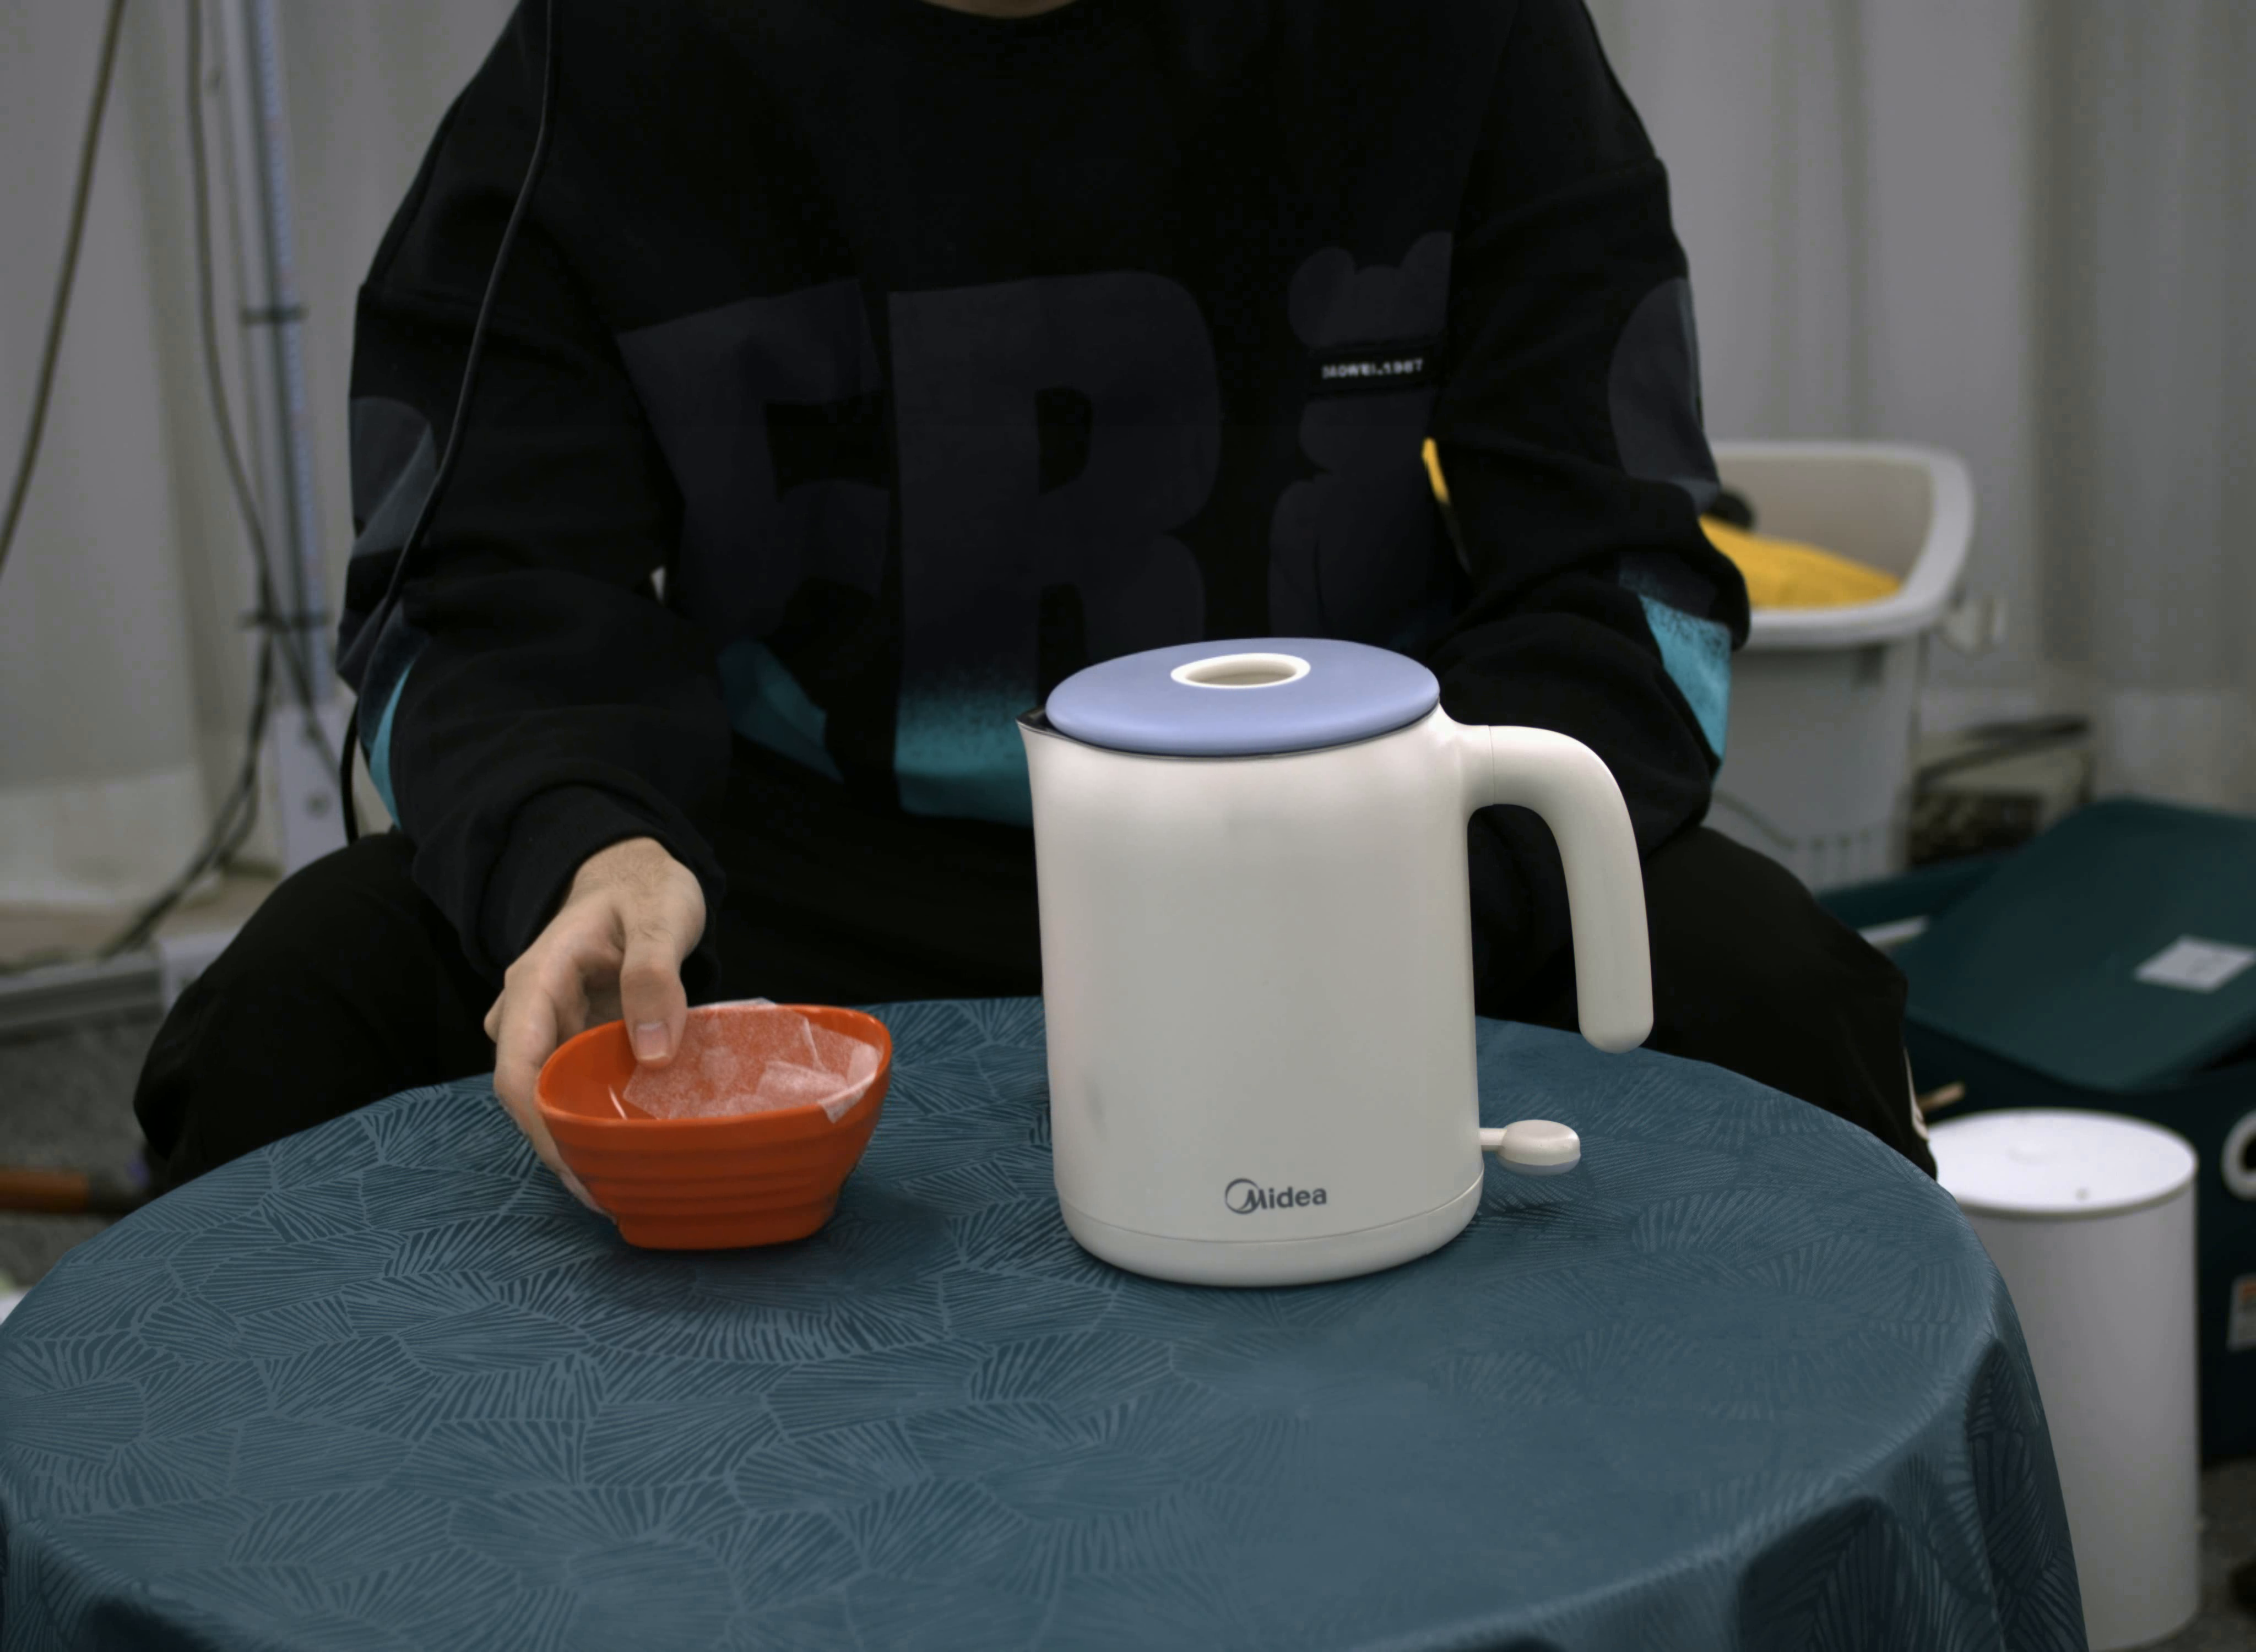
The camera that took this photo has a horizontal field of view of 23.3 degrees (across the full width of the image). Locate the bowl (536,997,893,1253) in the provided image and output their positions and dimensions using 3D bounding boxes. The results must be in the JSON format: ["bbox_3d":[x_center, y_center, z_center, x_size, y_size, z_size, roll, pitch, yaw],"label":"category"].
[{"bbox_3d":[-0.125,0.096,1.693,0.118,0.051,0.120,-5,18,1],"label":"bowl"}]

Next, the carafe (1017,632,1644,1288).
[{"bbox_3d":[0.062,0.039,1.659,0.190,0.182,0.133,-1,15,-2],"label":"carafe"}]
